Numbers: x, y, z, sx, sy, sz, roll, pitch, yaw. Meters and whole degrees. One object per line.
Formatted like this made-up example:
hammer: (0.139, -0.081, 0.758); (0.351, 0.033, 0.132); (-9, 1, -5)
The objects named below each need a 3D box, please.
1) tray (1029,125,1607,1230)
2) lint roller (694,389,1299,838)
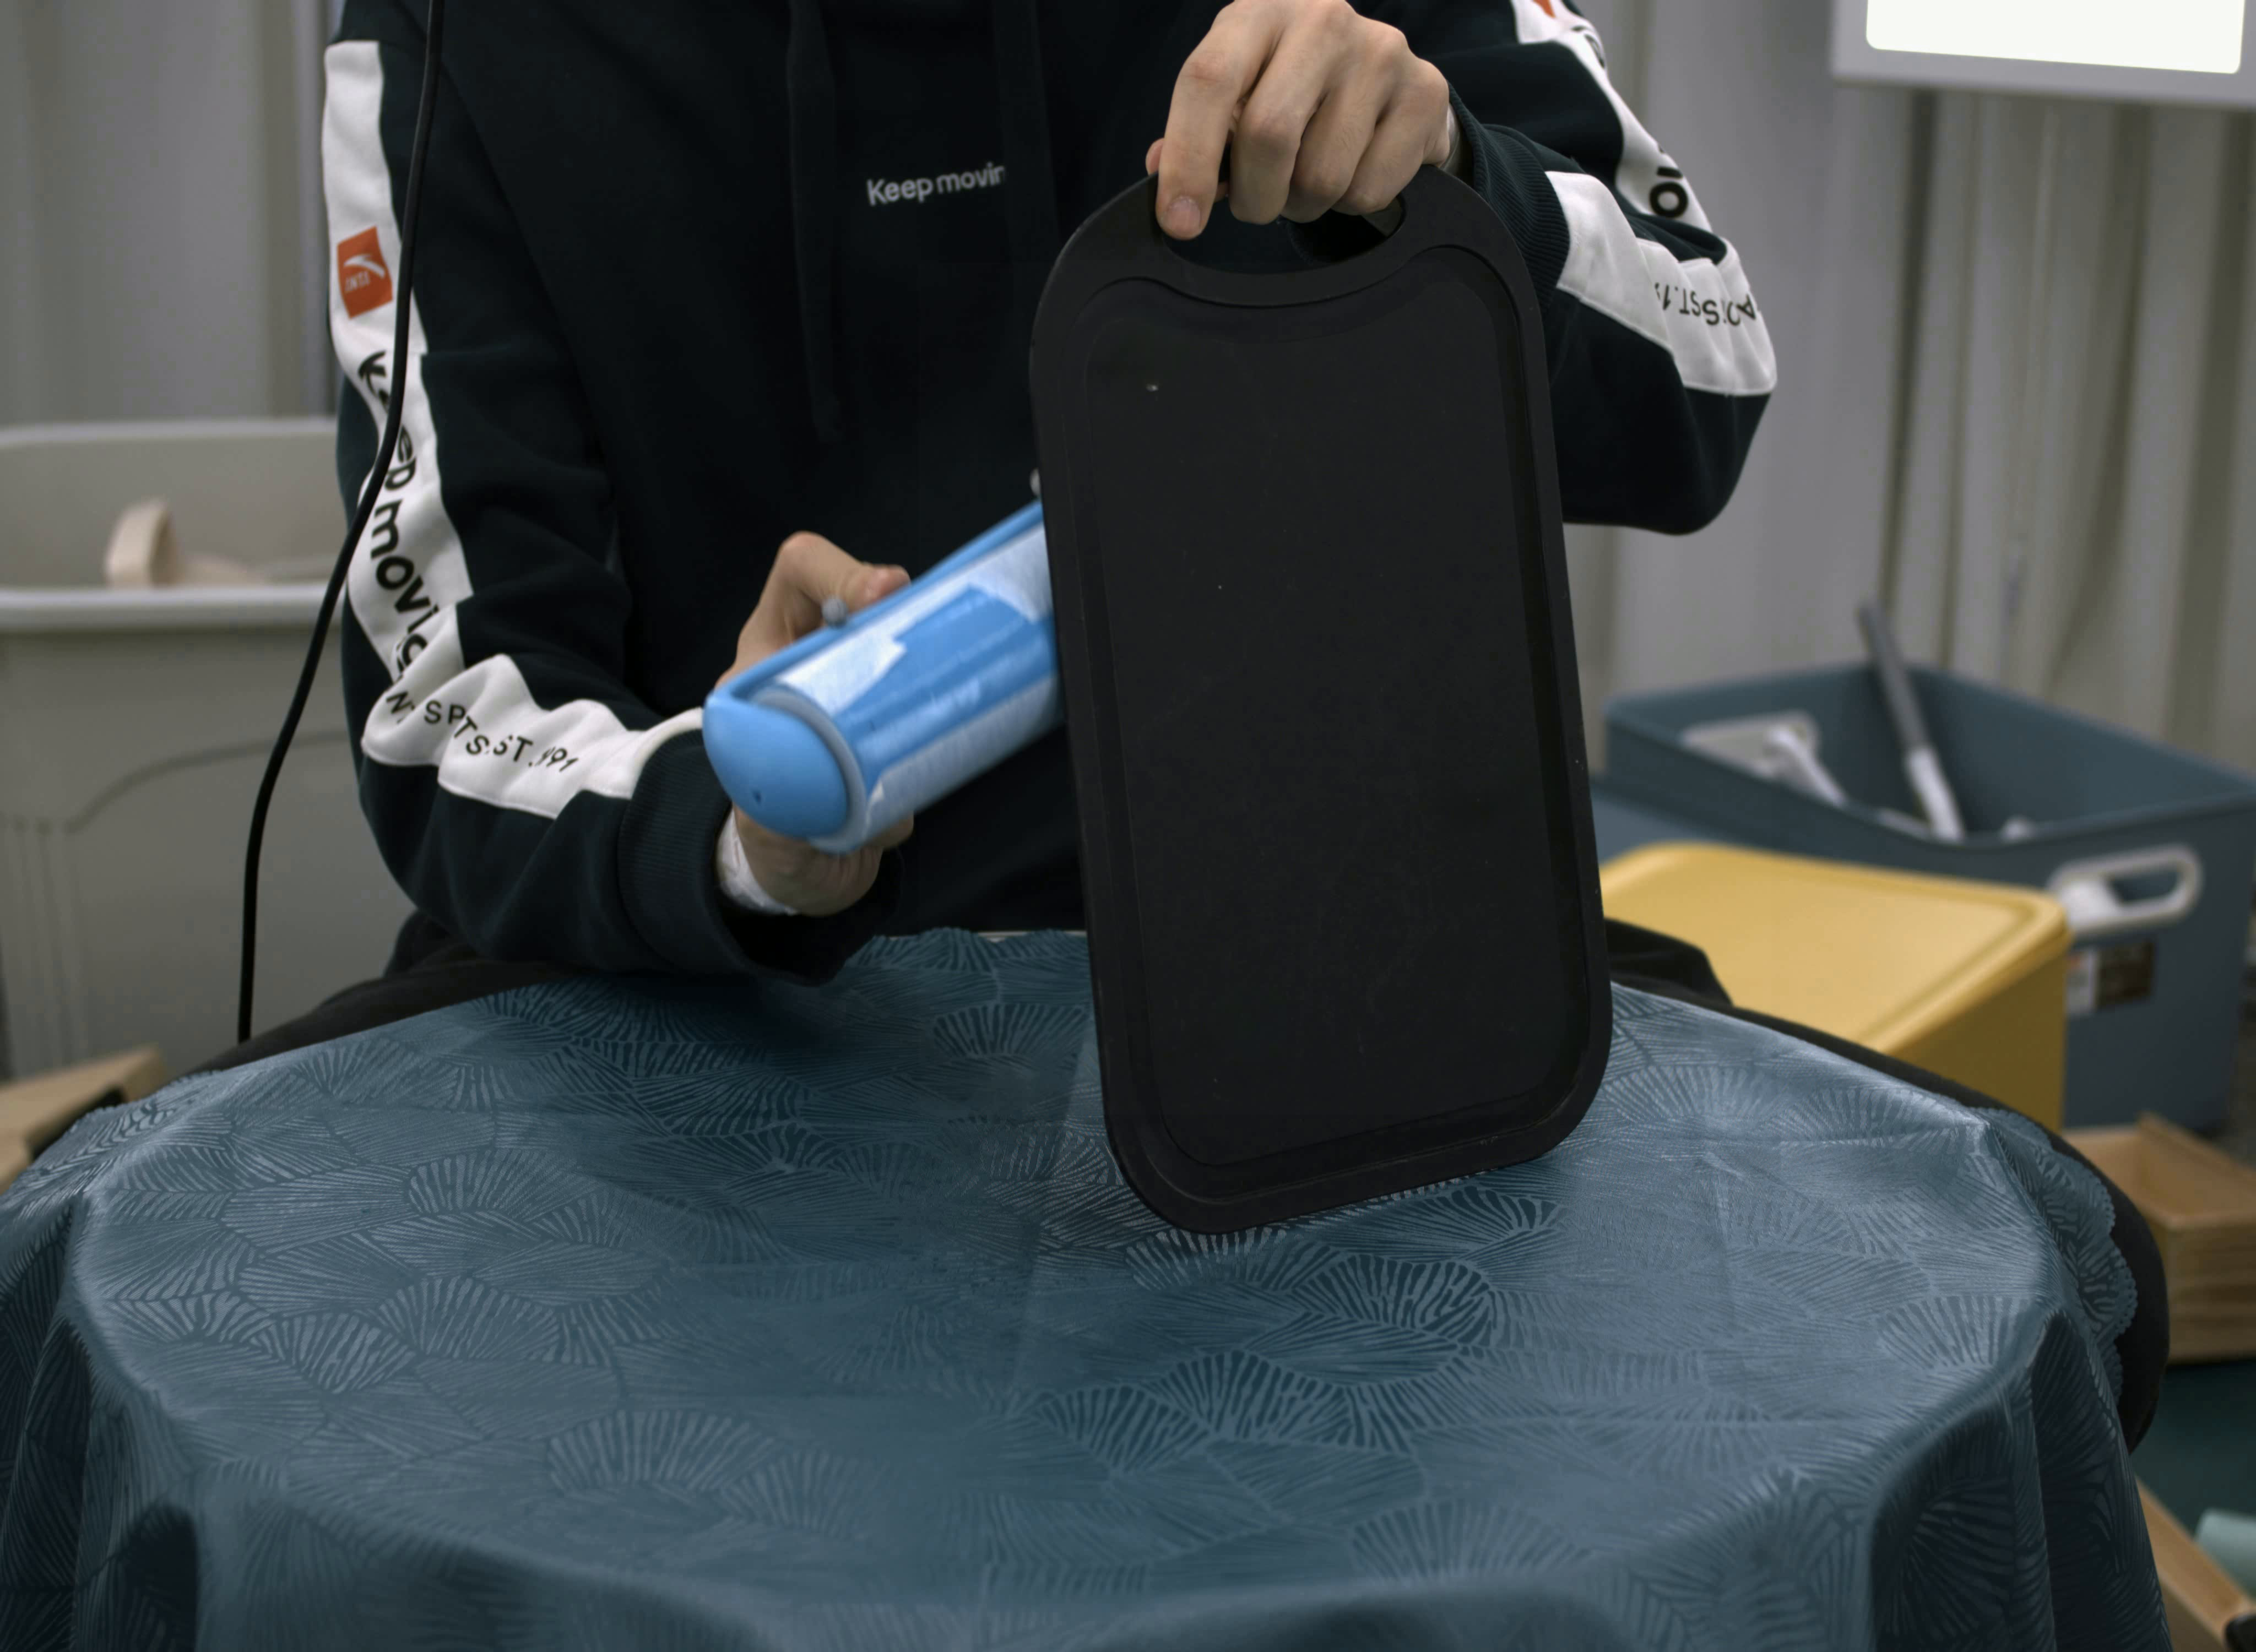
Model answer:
tray: (0.061, -0.048, 1.591); (0.212, 0.327, 0.009); (-10, 7, -40)
lint roller: (-0.061, -0.051, 1.597); (0.229, 0.068, 0.180); (-38, 3, -38)
